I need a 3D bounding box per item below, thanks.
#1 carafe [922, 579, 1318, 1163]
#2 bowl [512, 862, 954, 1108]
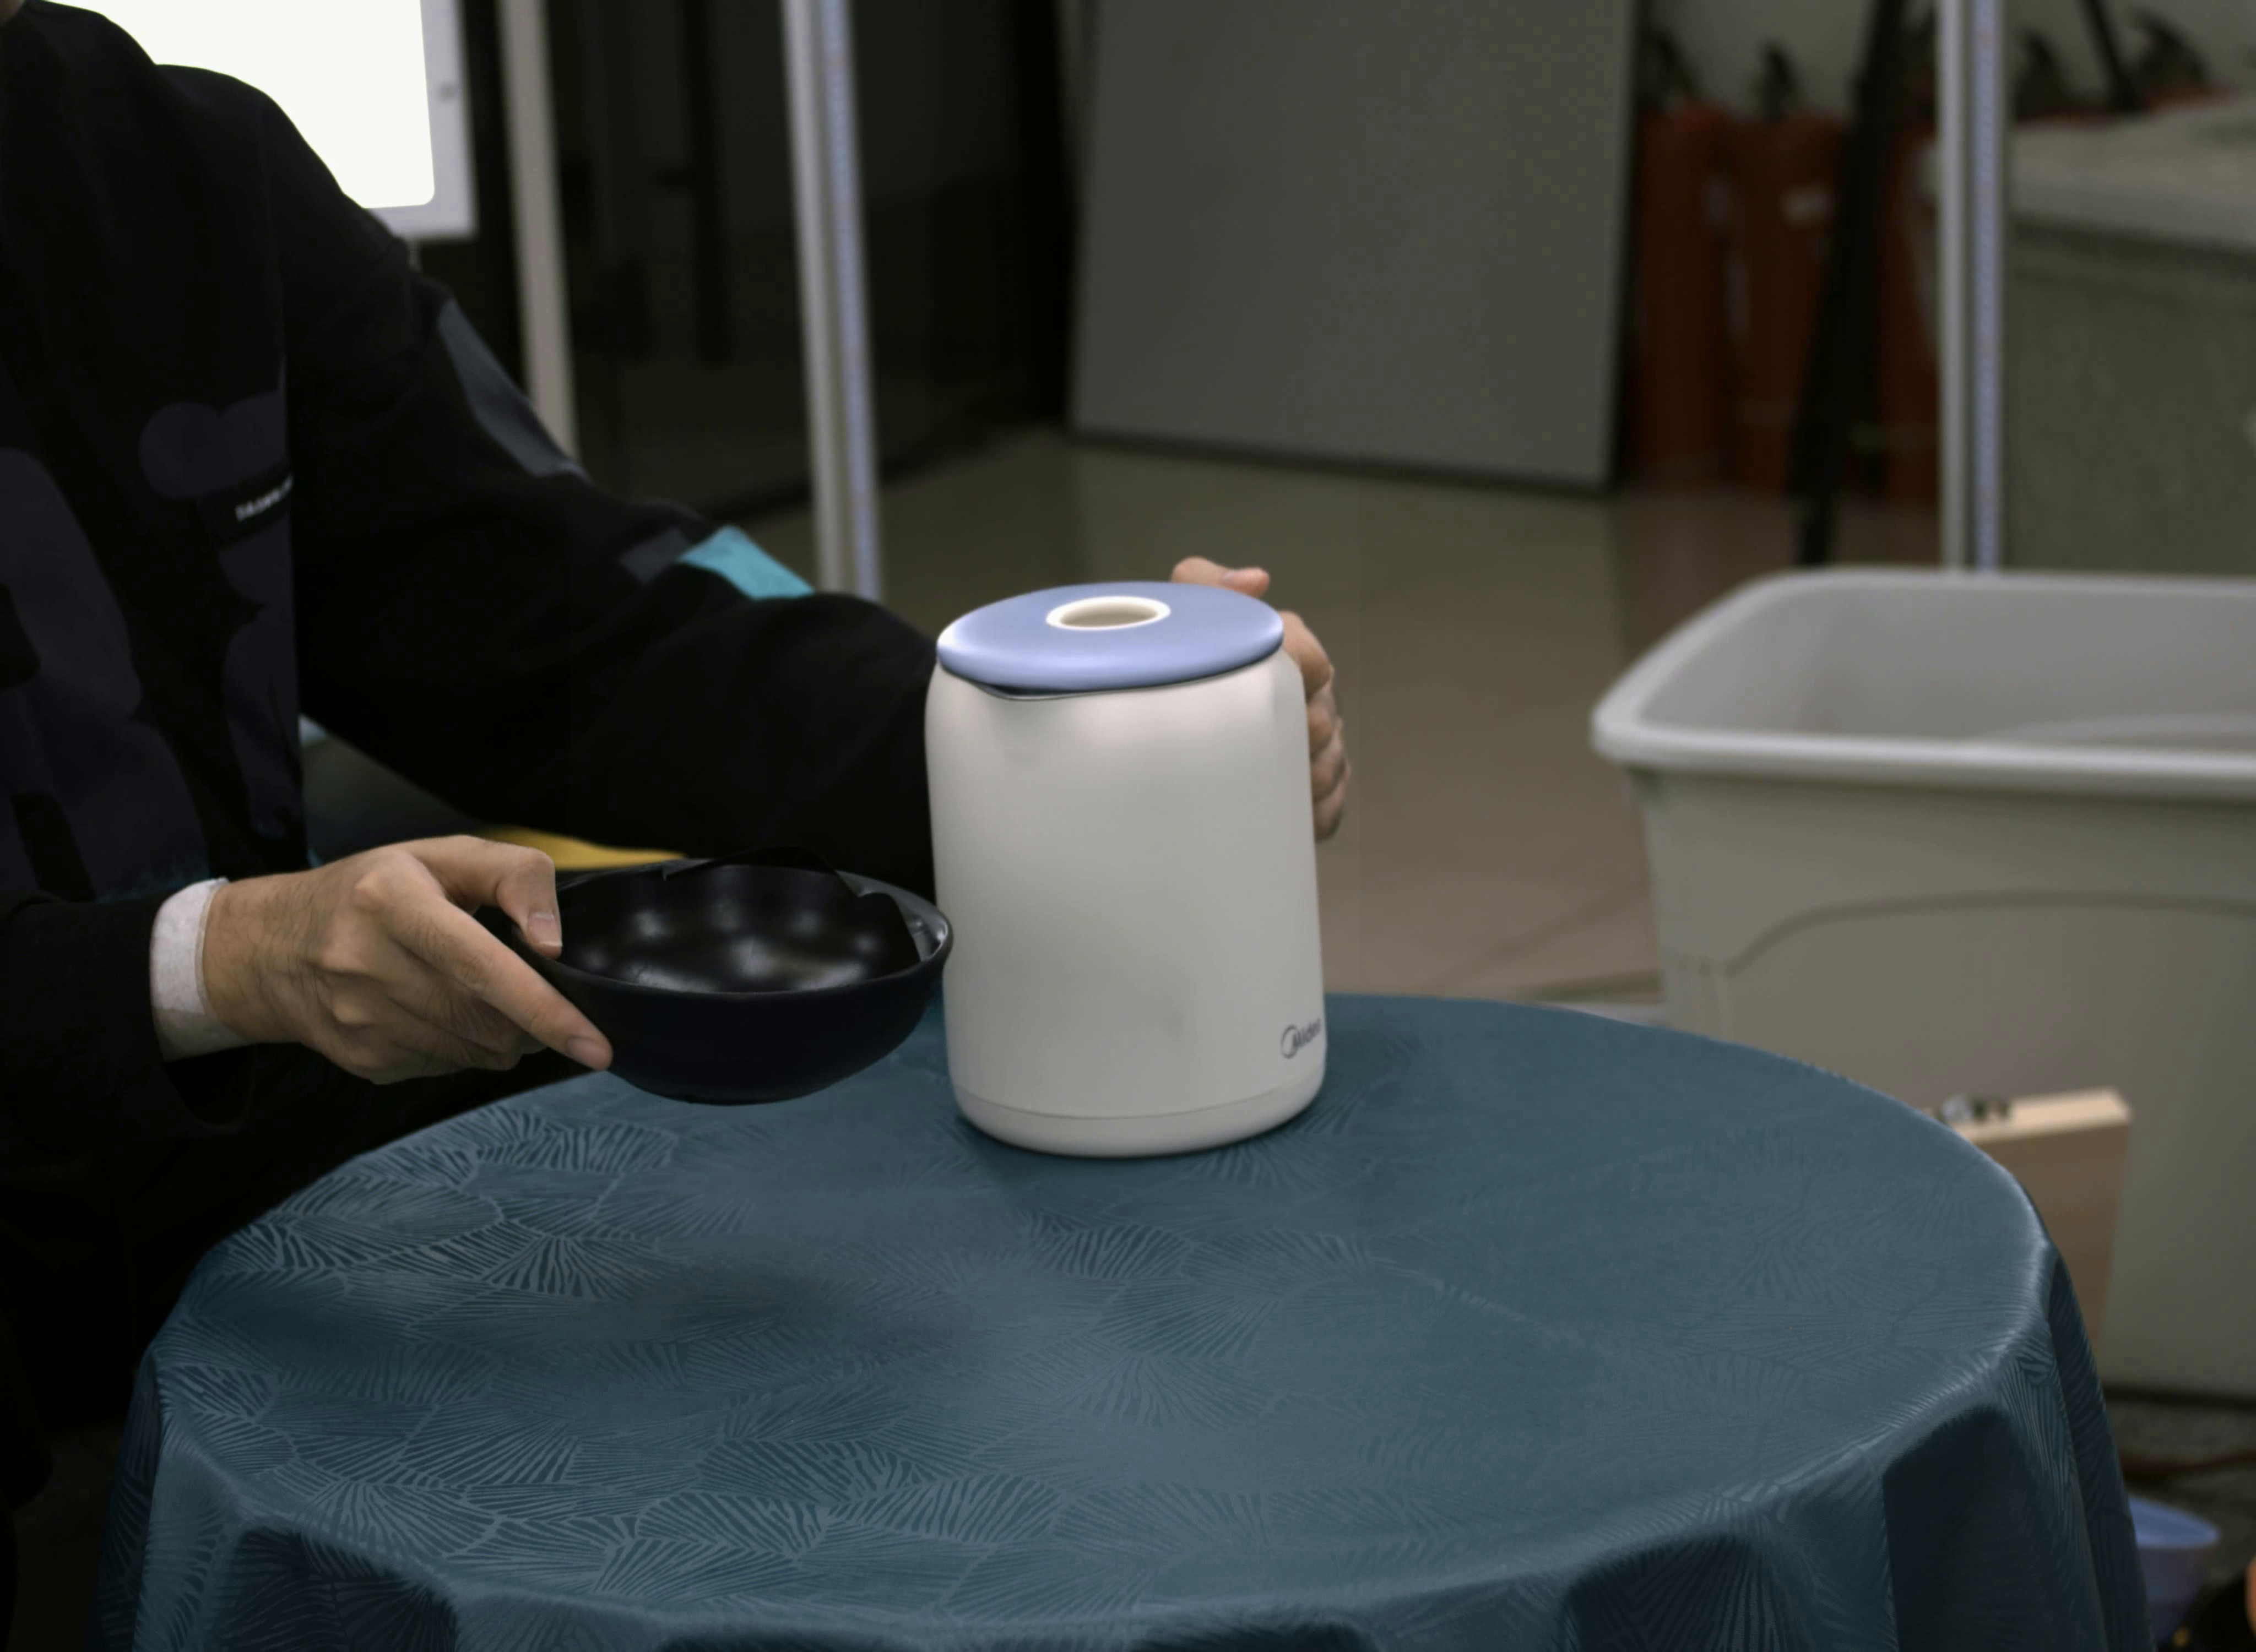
[{"bbox_3d":[0.008,0.009,1.858,0.132,0.184,0.188,5,15,27],"label":"carafe"},{"bbox_3d":[-0.122,0.054,1.687,0.138,0.050,0.140,-1,15,-1],"label":"bowl"}]
